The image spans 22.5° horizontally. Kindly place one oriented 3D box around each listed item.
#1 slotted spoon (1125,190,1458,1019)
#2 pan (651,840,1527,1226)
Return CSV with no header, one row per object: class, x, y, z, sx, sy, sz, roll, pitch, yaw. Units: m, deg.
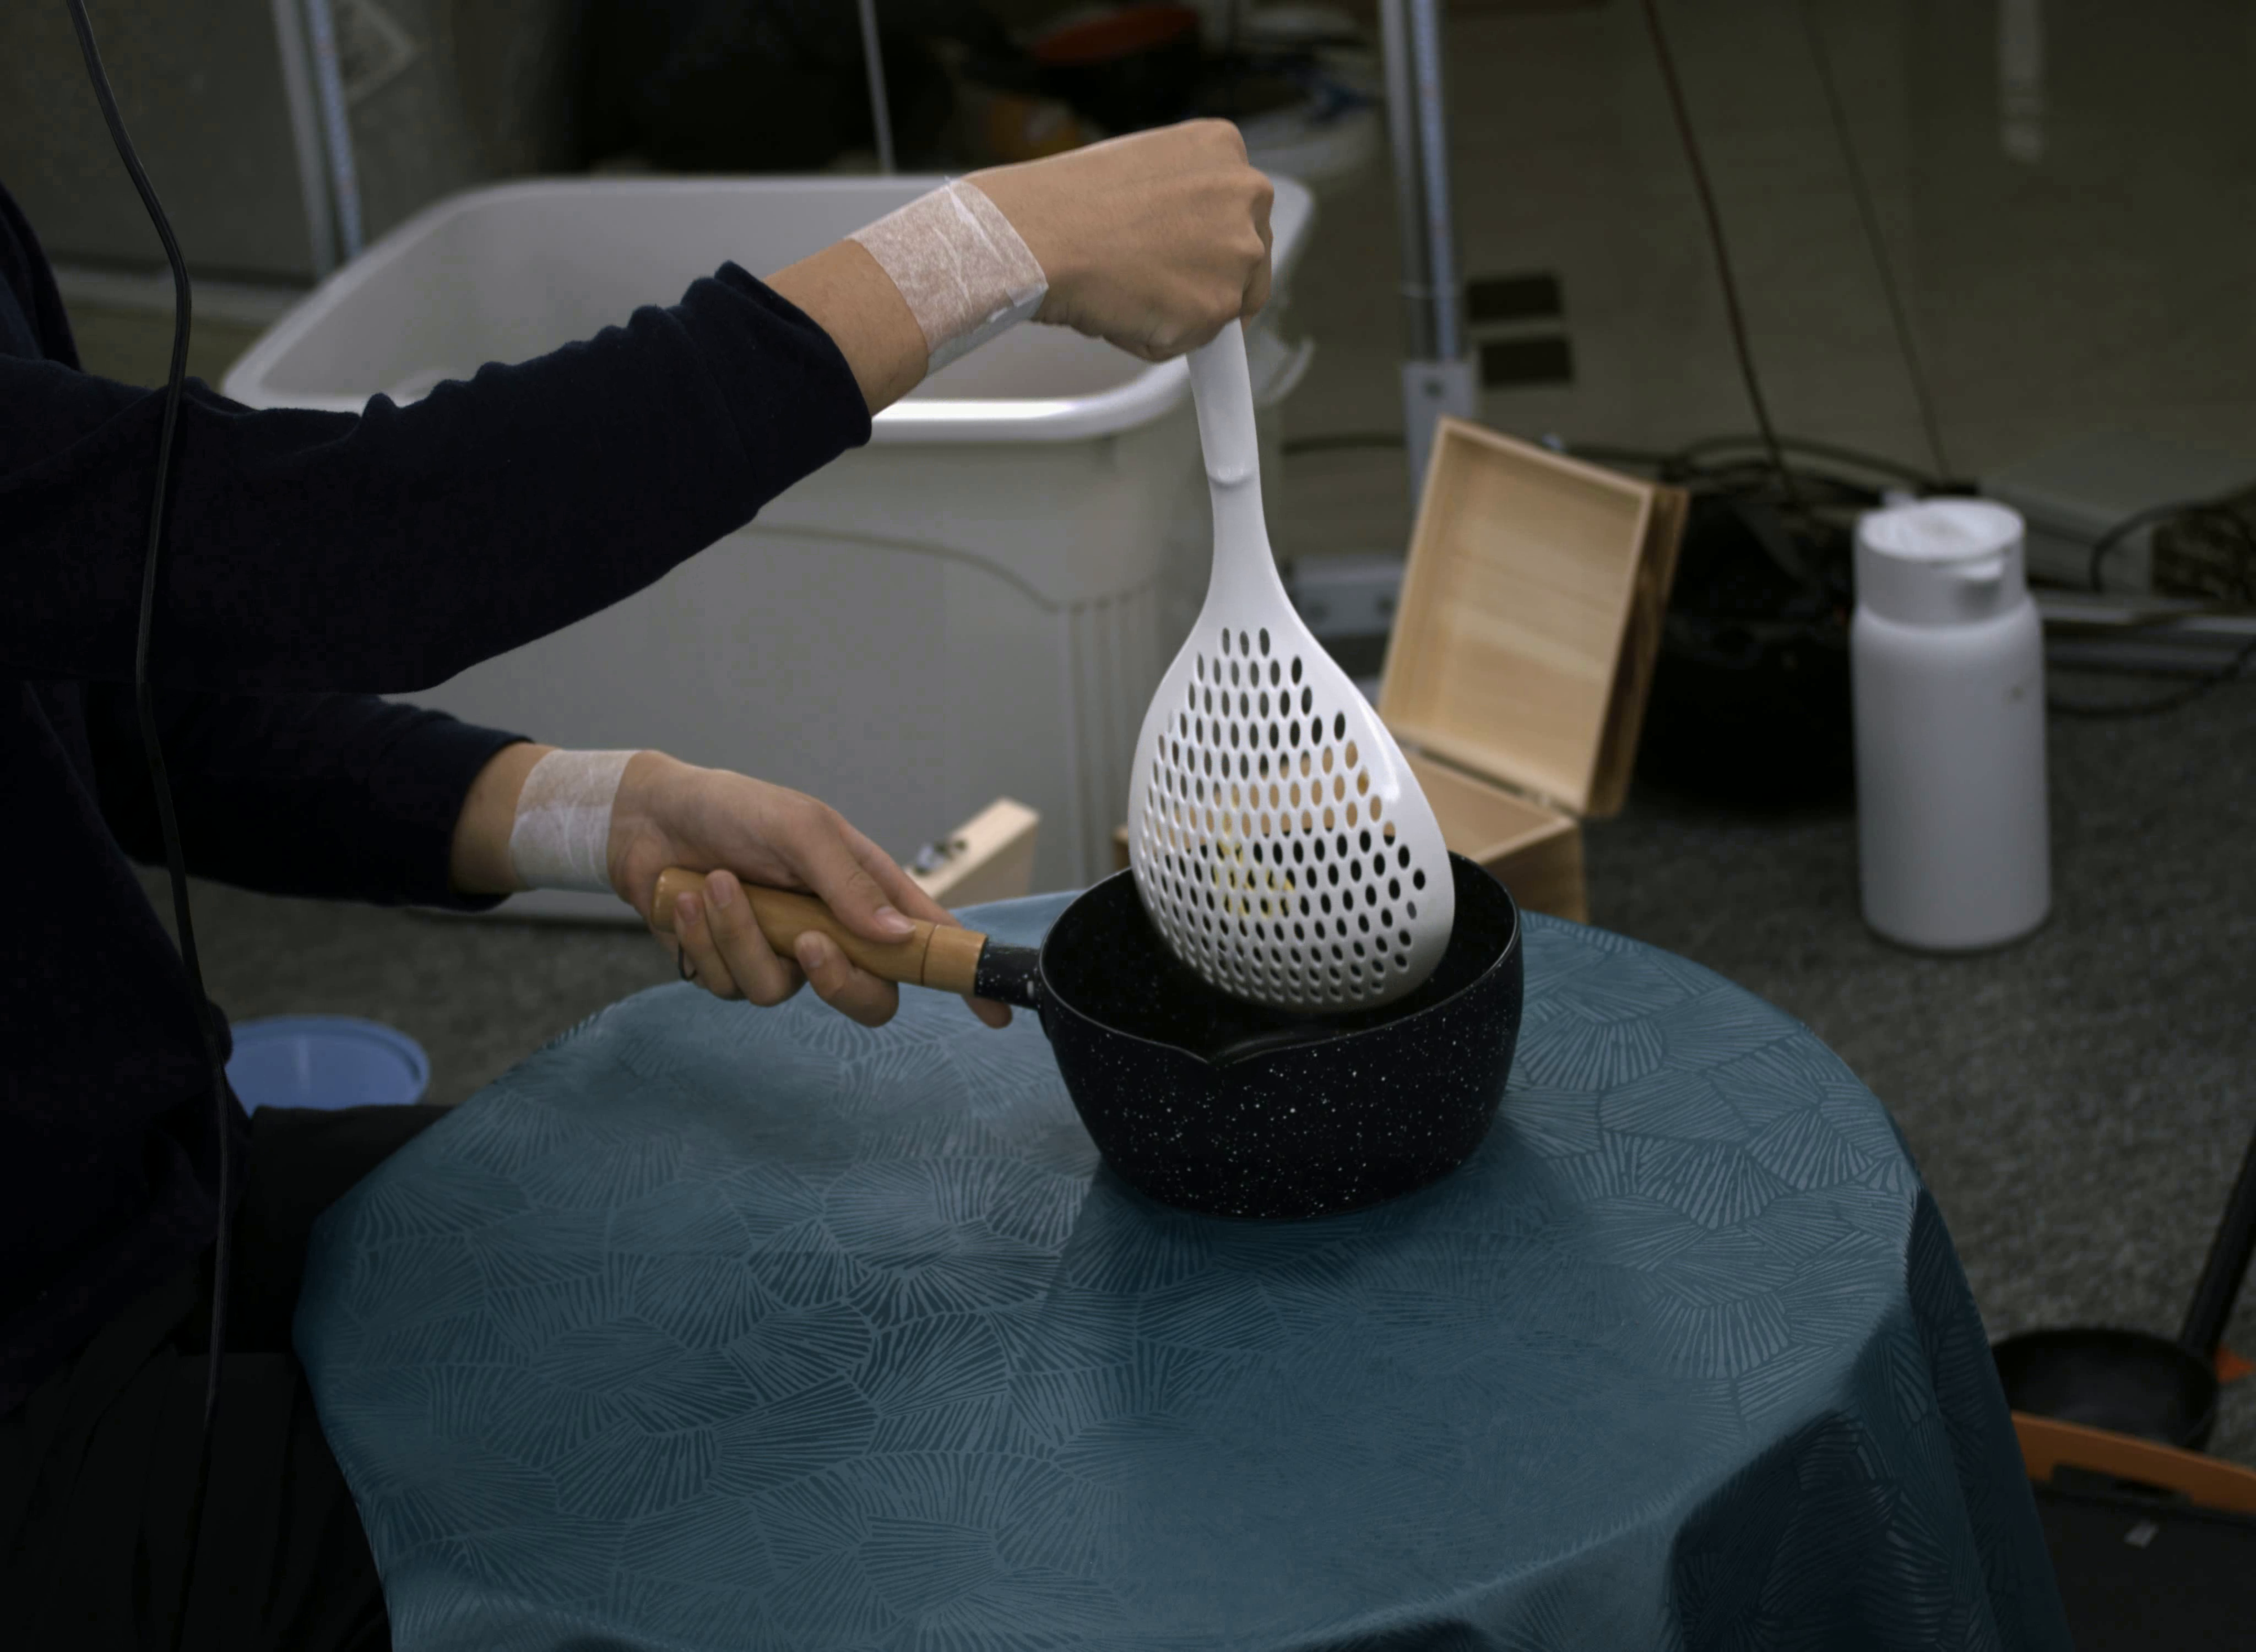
slotted spoon,0.045,-0.077,2.116,0.136,0.353,0.049,5,26,23
pan,-0.017,0.068,2.173,0.342,0.110,0.204,1,27,13
